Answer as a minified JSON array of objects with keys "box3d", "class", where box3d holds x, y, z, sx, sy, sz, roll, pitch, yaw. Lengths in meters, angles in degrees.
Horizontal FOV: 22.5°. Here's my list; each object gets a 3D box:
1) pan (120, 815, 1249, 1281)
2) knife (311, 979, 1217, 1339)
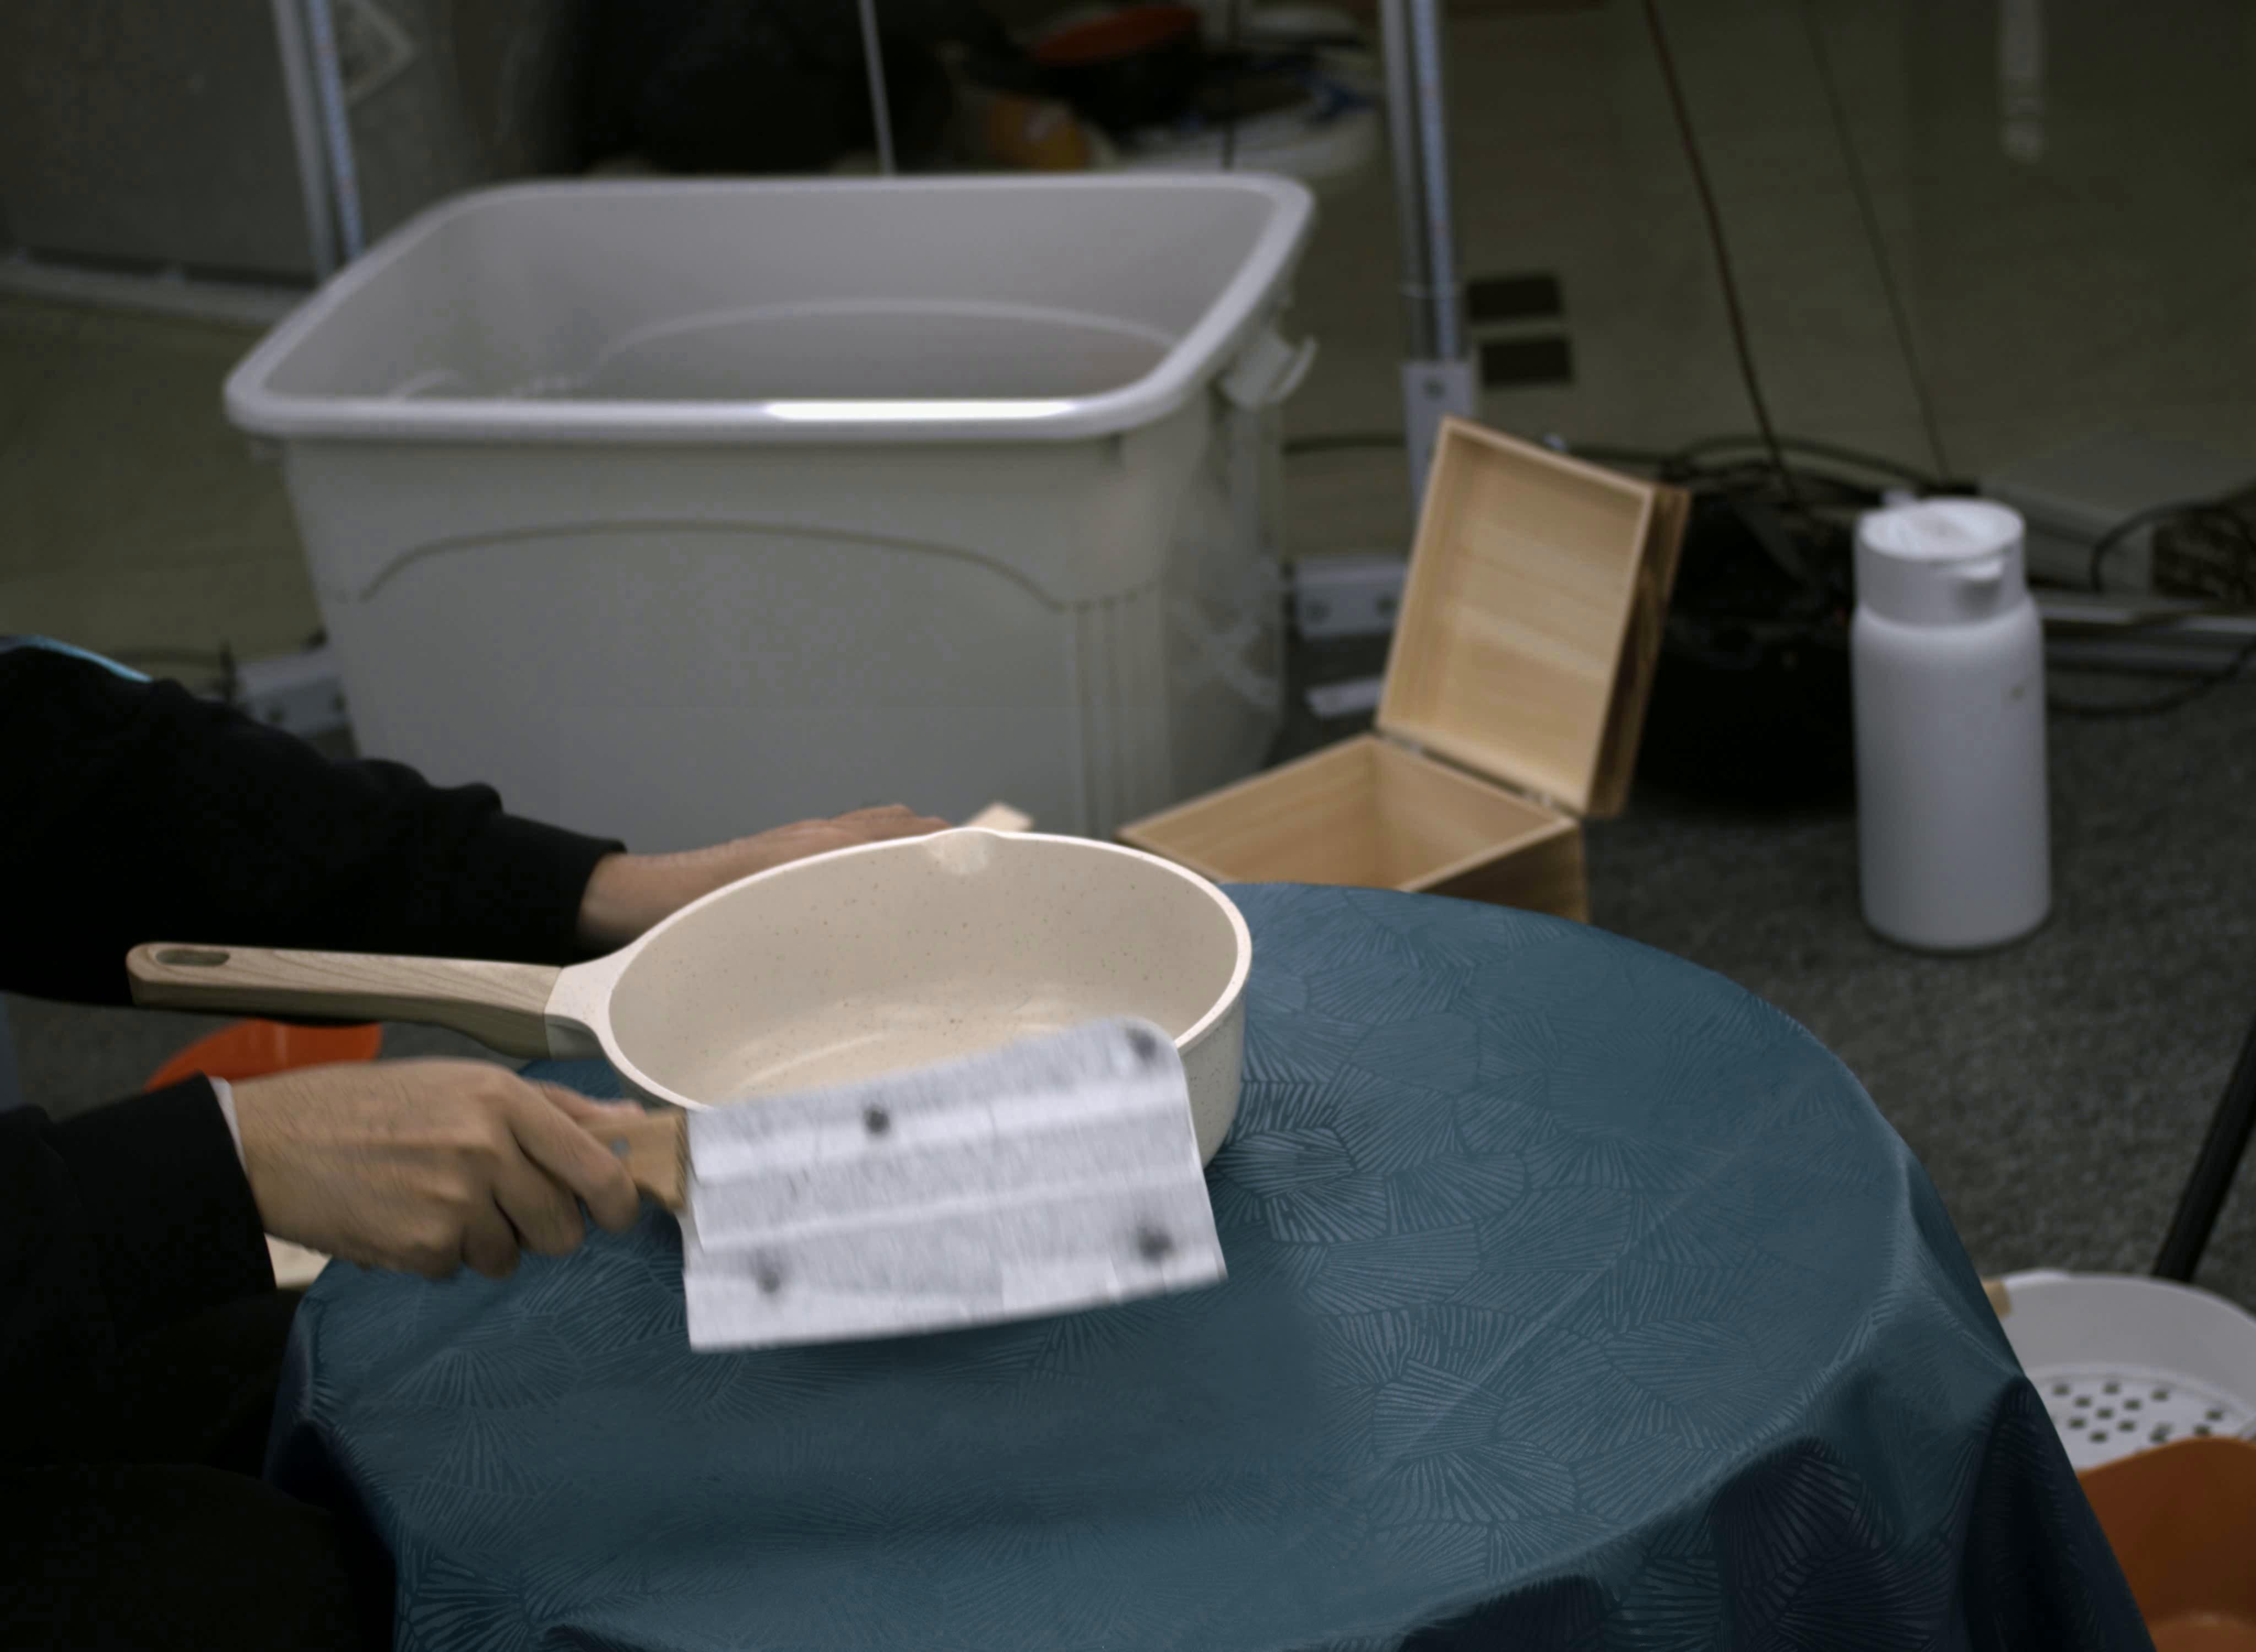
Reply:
[{"box3d":[-0.166,0.089,2.177,0.434,0.104,0.259,-3,28,7],"class":"pan"},{"box3d":[-0.128,0.119,1.958,0.315,0.113,0.022,-6,-17,6],"class":"knife"}]
